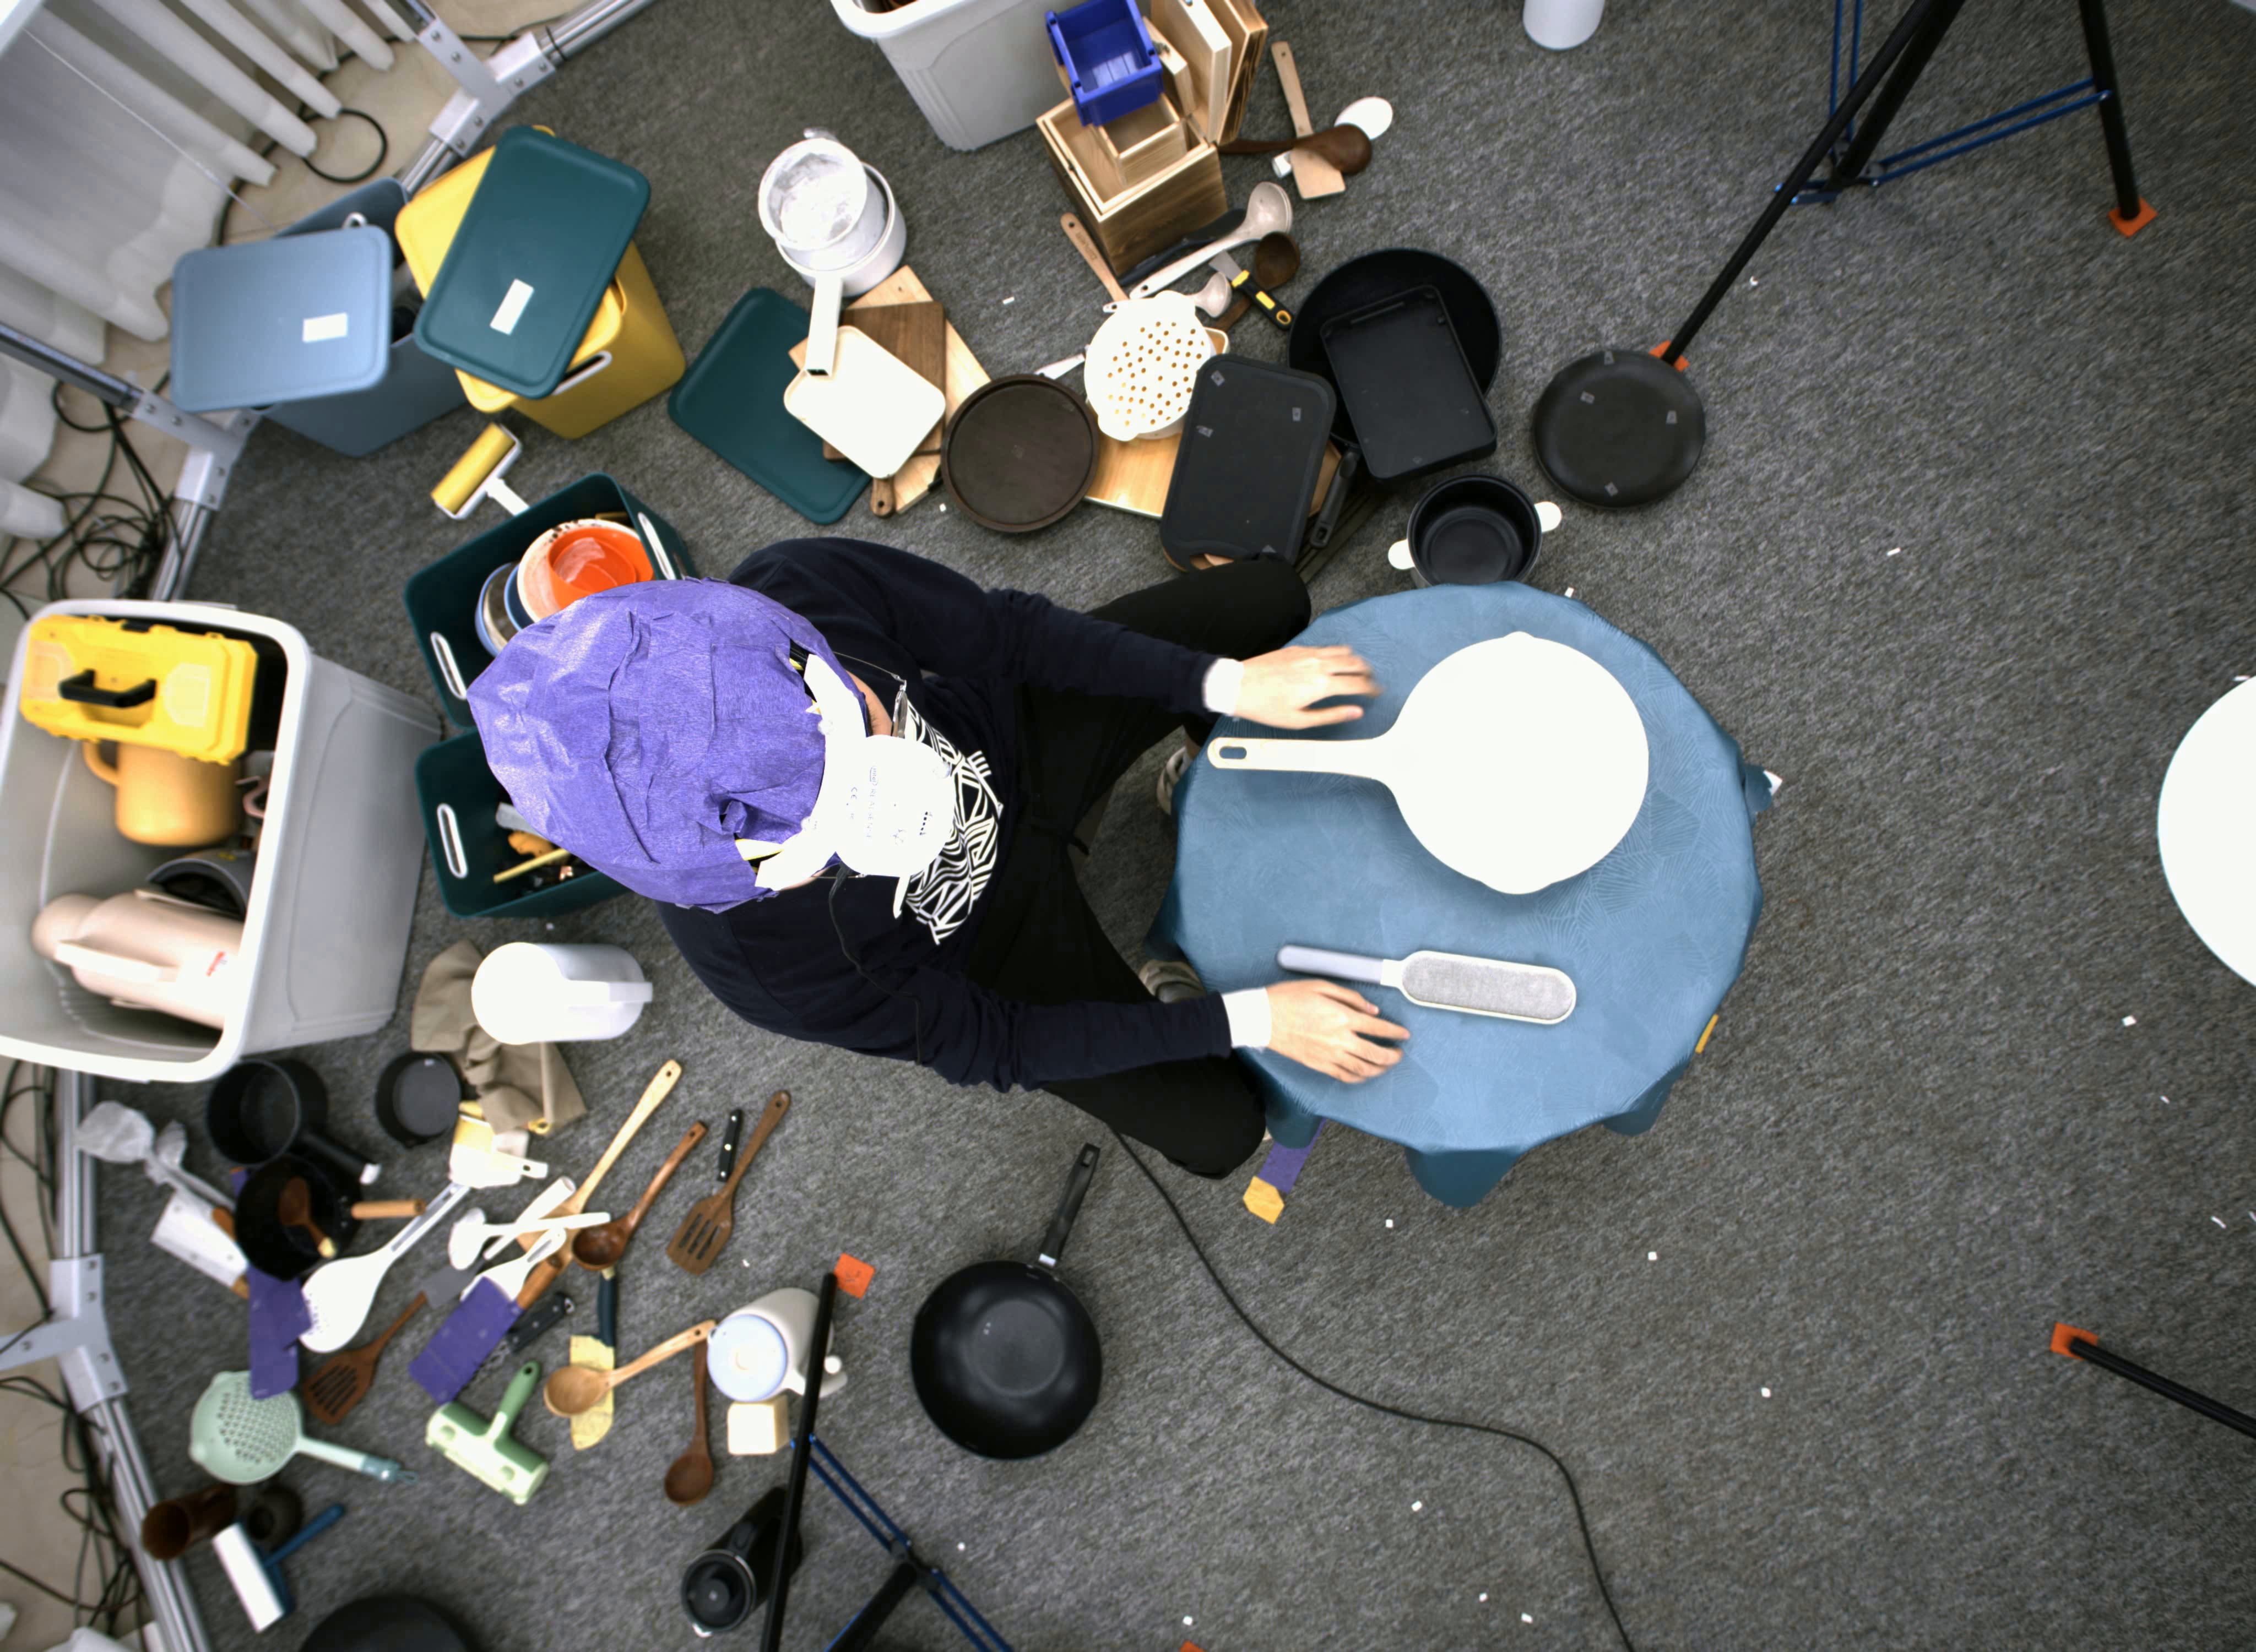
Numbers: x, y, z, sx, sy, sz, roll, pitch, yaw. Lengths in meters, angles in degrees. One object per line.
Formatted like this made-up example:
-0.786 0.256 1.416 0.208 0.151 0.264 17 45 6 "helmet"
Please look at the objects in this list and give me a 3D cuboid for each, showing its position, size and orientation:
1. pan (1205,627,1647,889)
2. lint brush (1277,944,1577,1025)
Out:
0.301 -0.070 1.412 0.436 0.102 0.263 1 89 11 "pan"
0.308 0.154 1.434 0.310 0.021 0.060 8 93 11 "lint brush"
